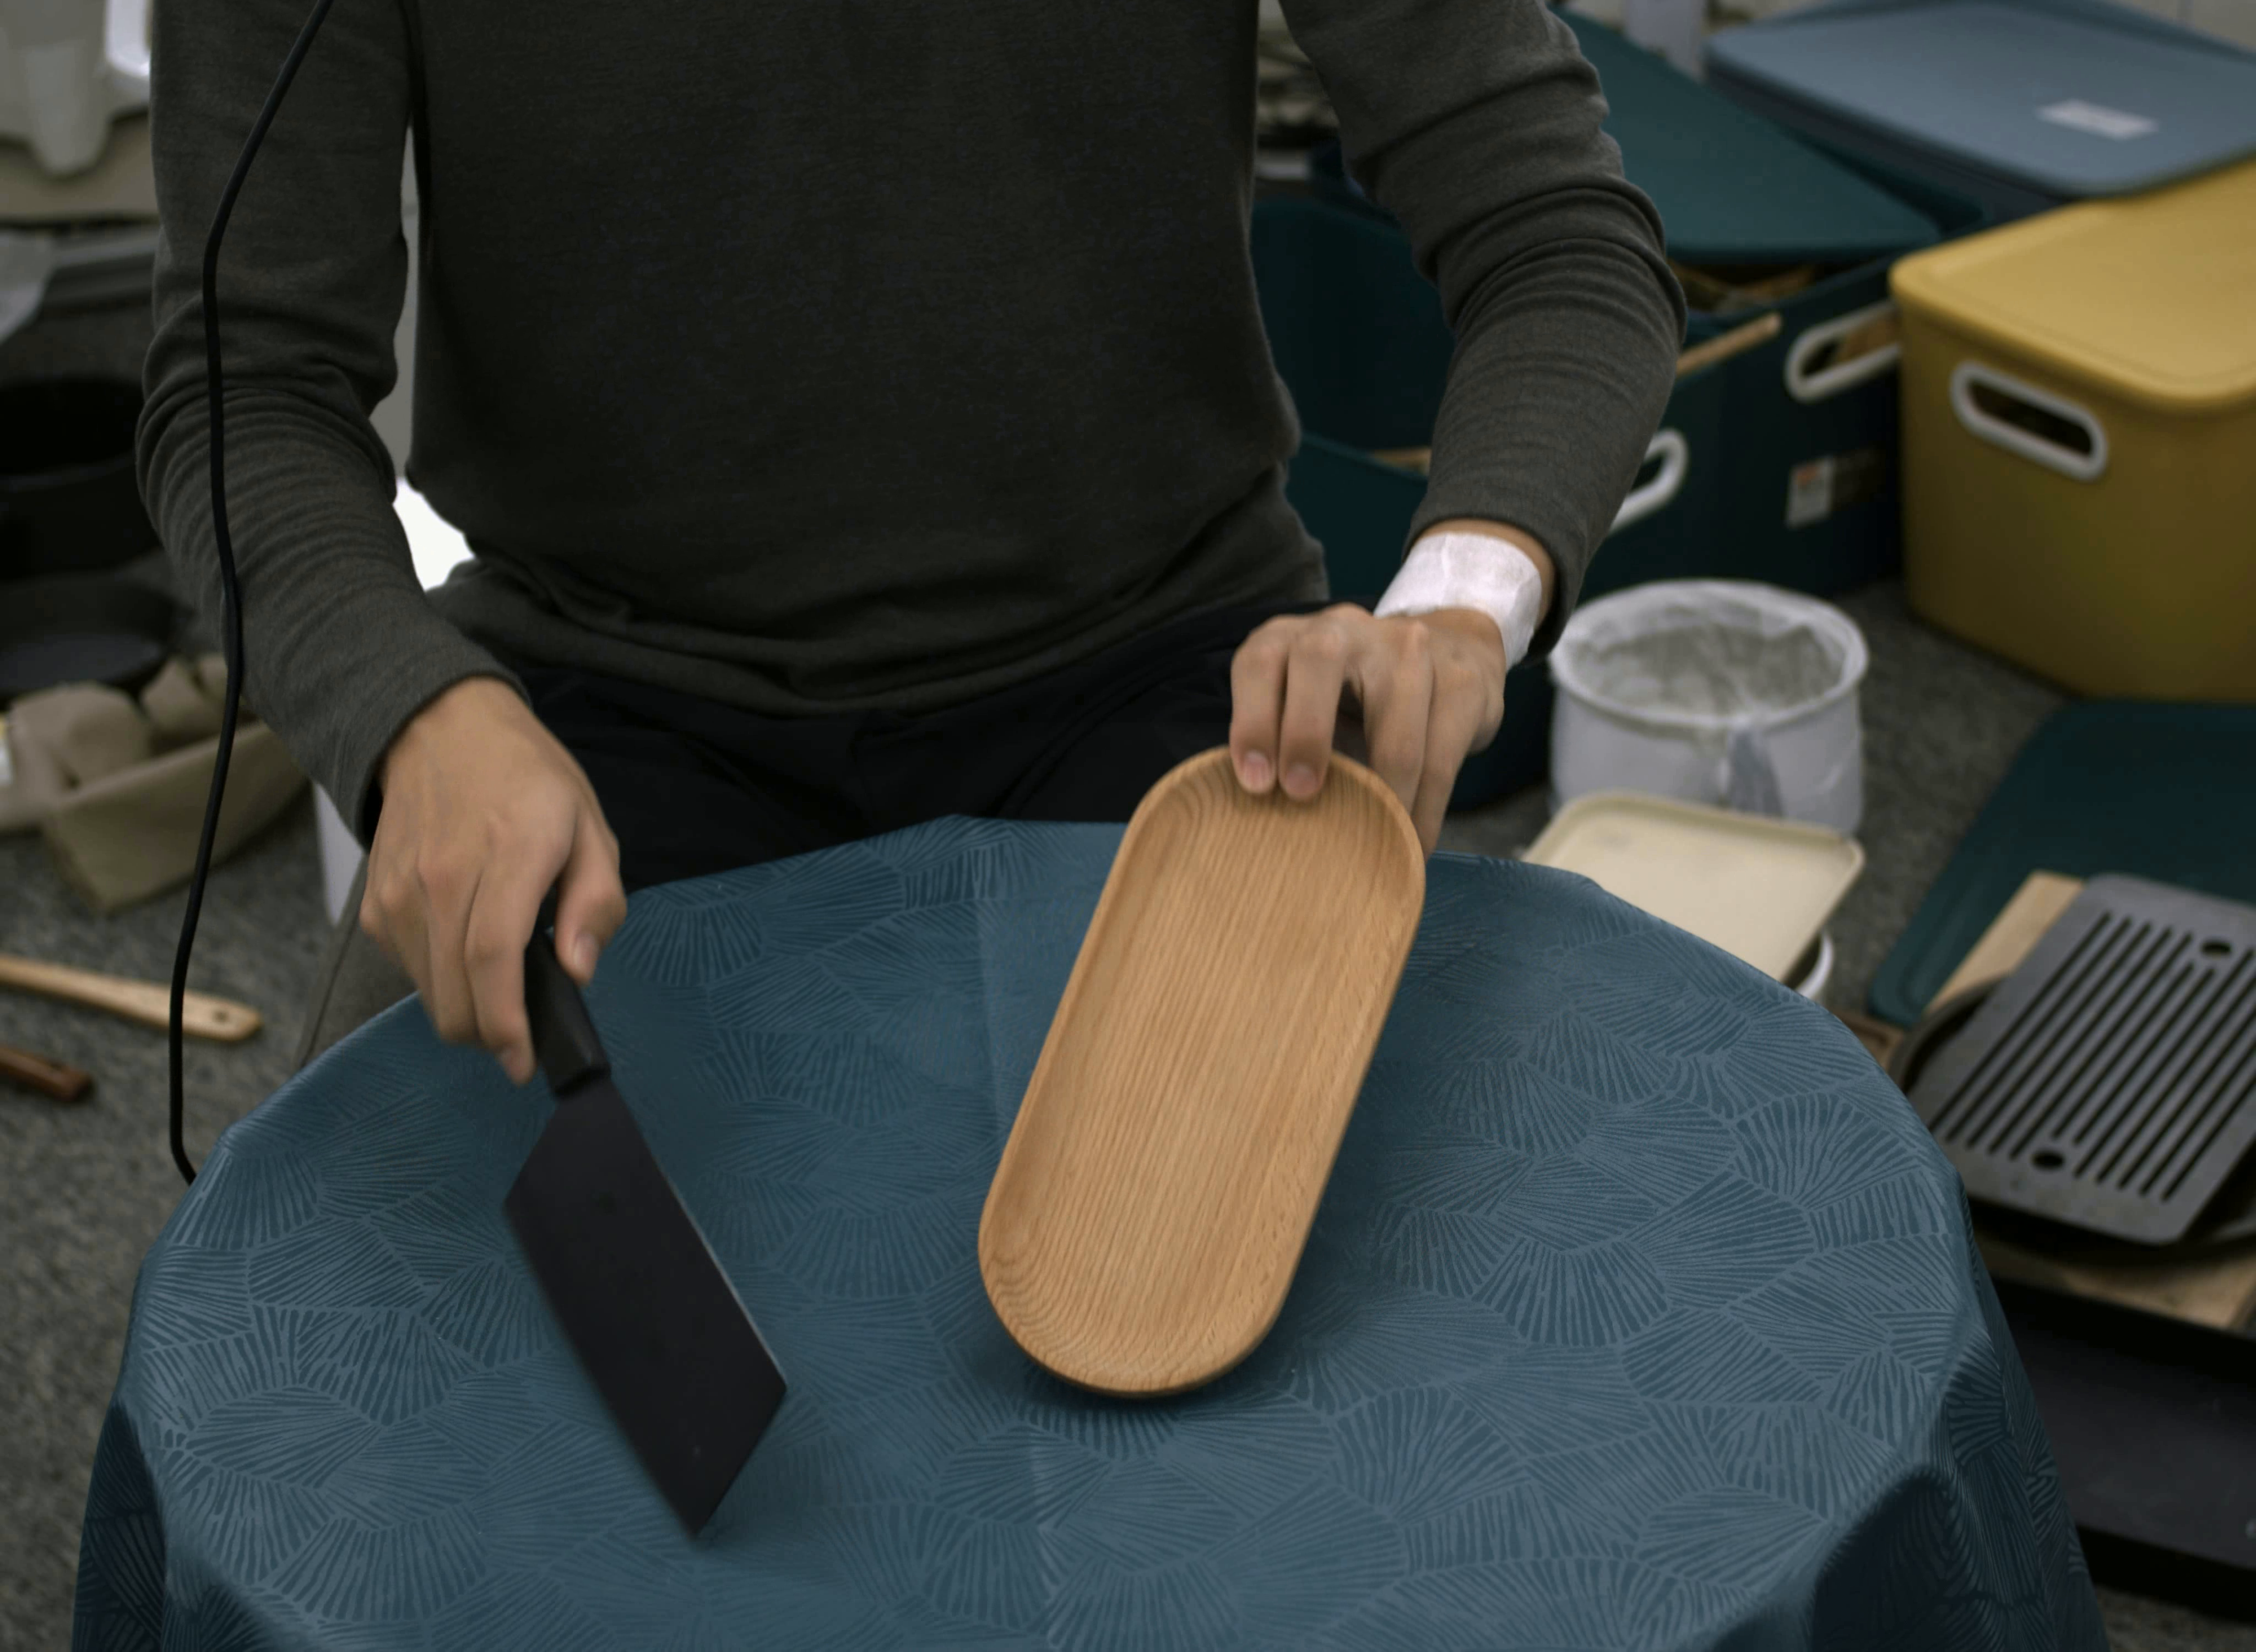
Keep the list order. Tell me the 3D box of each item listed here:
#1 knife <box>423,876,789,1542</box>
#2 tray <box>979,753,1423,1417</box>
[{"bbox_3d":[-0.174,0.113,1.787,0.021,0.080,0.306,26,21,-38],"label":"knife"},{"bbox_3d":[0.024,0.081,1.791,0.101,0.020,0.235,15,66,9],"label":"tray"}]
